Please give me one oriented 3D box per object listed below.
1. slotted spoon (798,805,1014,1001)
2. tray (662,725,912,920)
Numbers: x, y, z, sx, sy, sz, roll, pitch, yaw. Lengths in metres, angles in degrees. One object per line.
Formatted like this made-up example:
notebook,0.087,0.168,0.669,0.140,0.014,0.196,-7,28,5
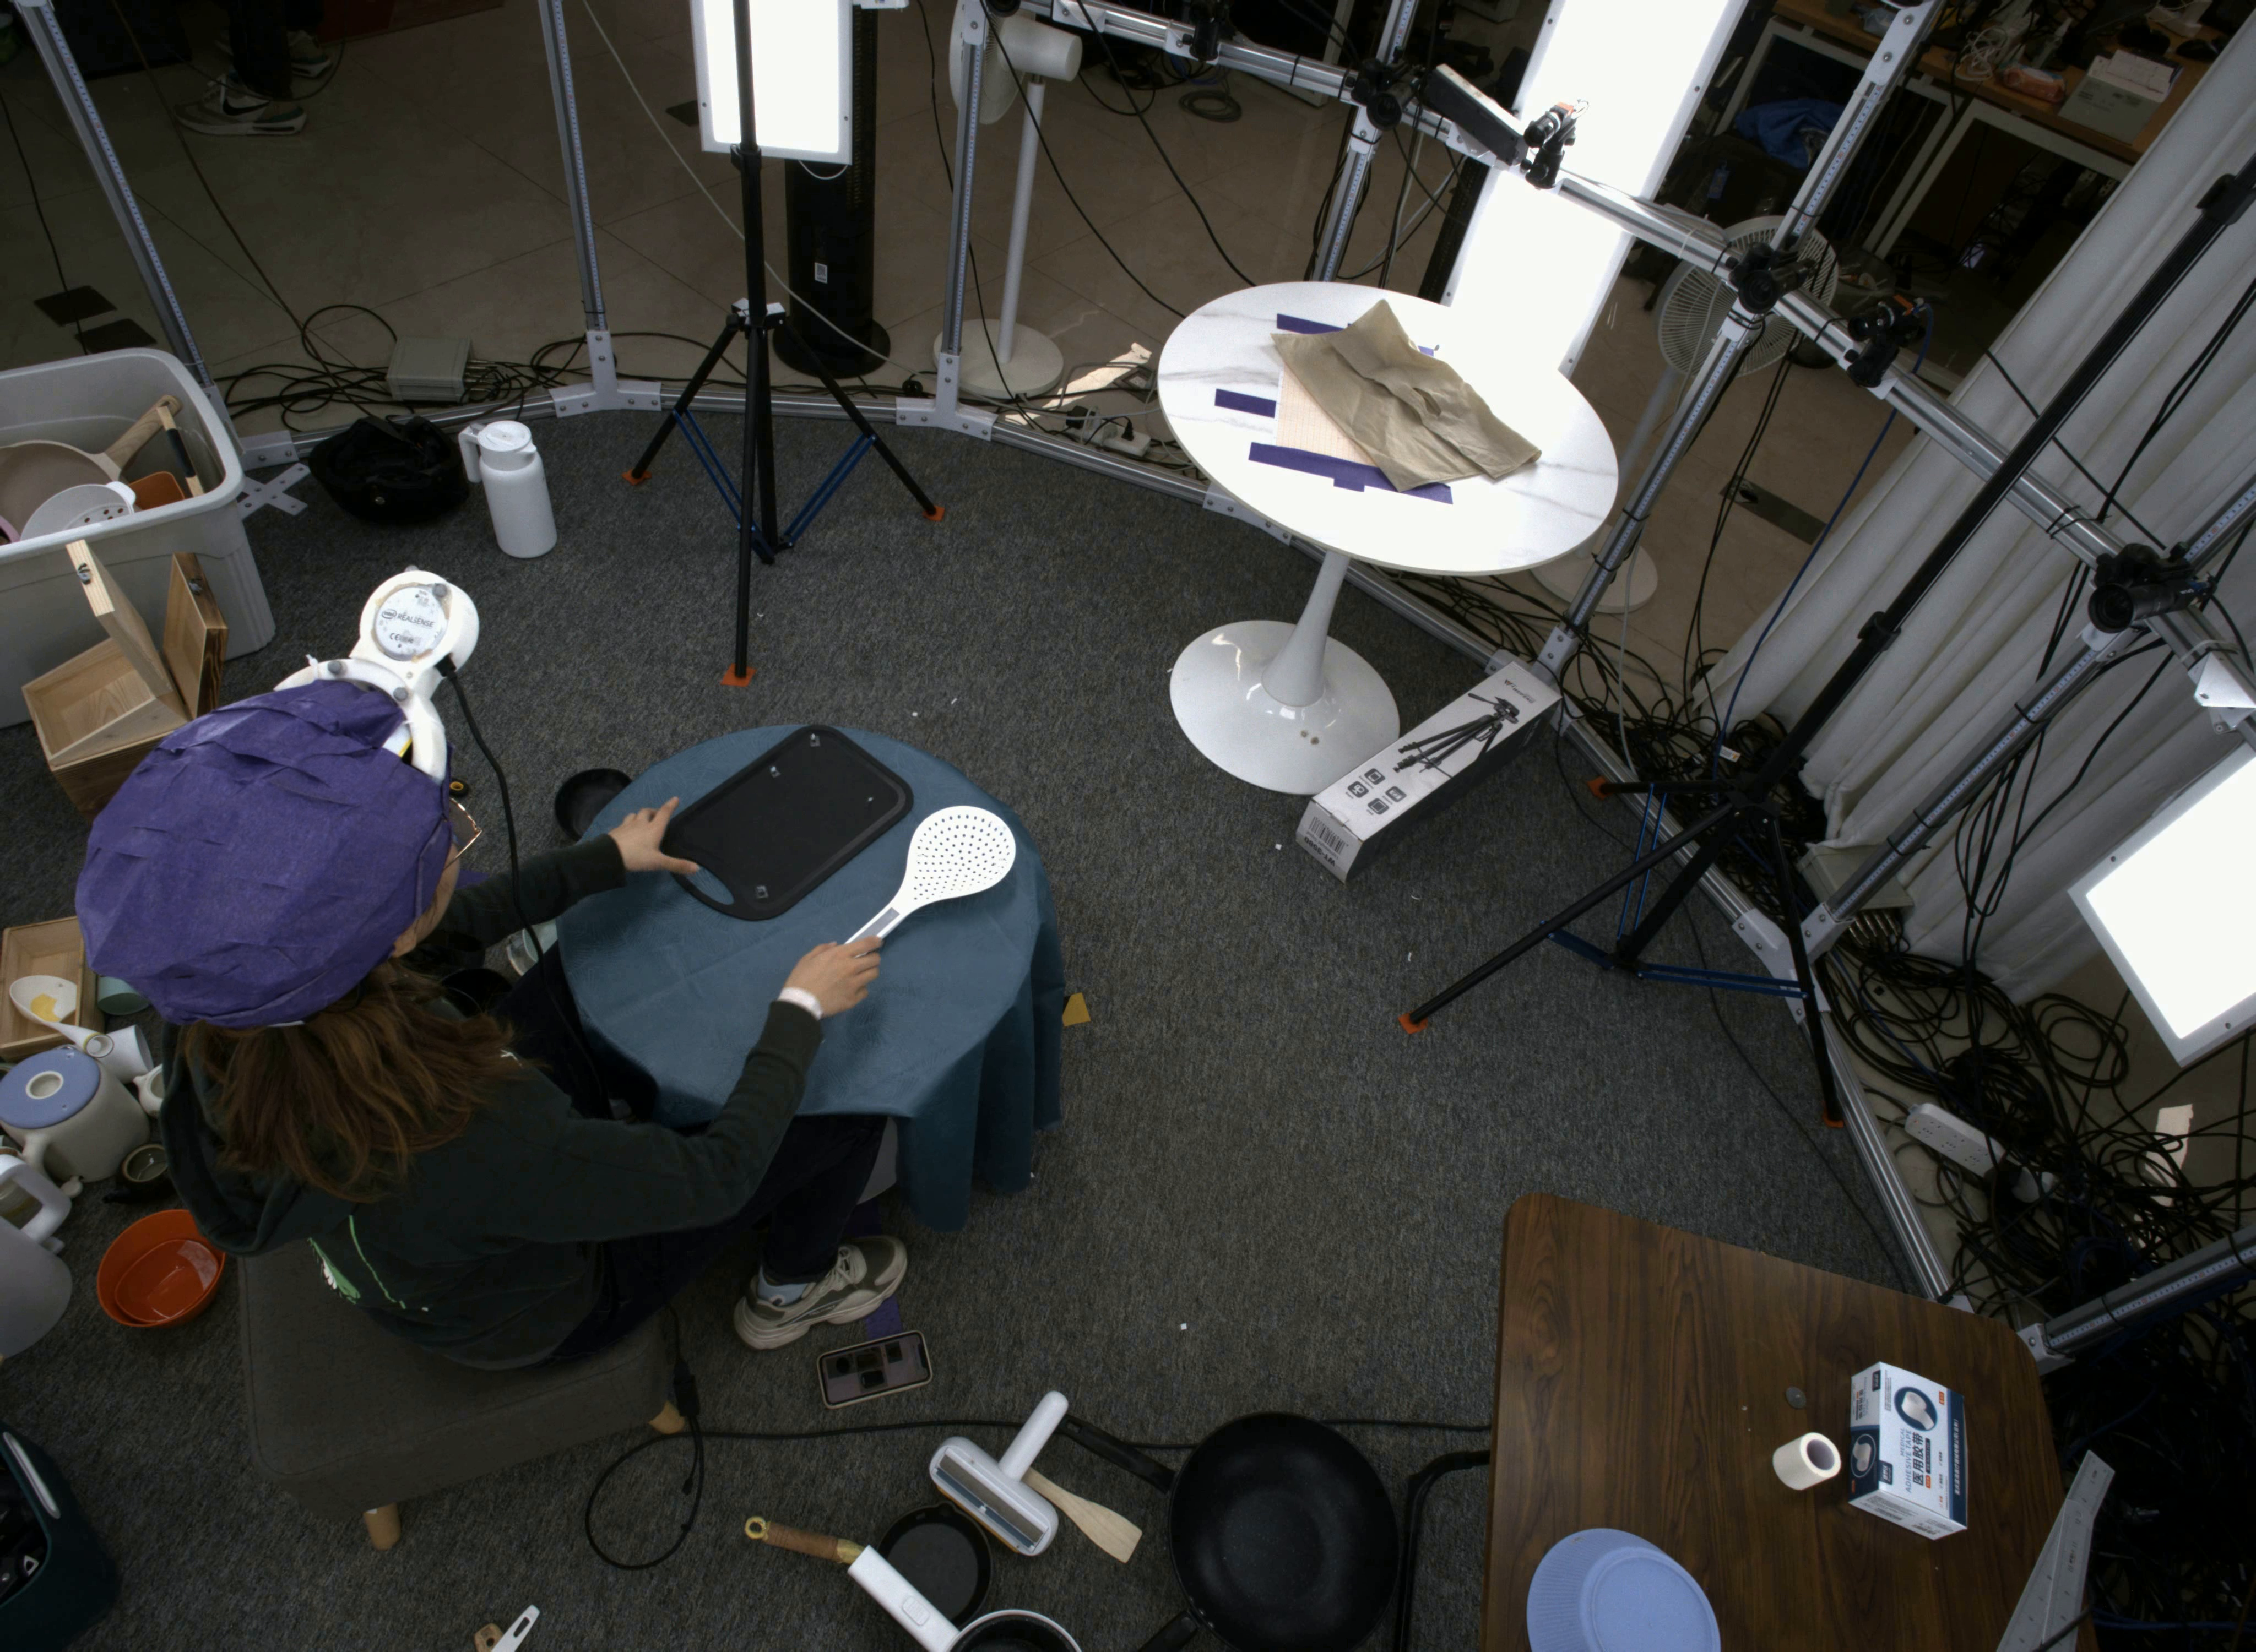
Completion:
slotted spoon,-0.285,0.097,1.663,0.133,0.047,0.350,36,54,16
tray,-0.455,-0.009,1.723,0.207,0.010,0.325,37,54,14
